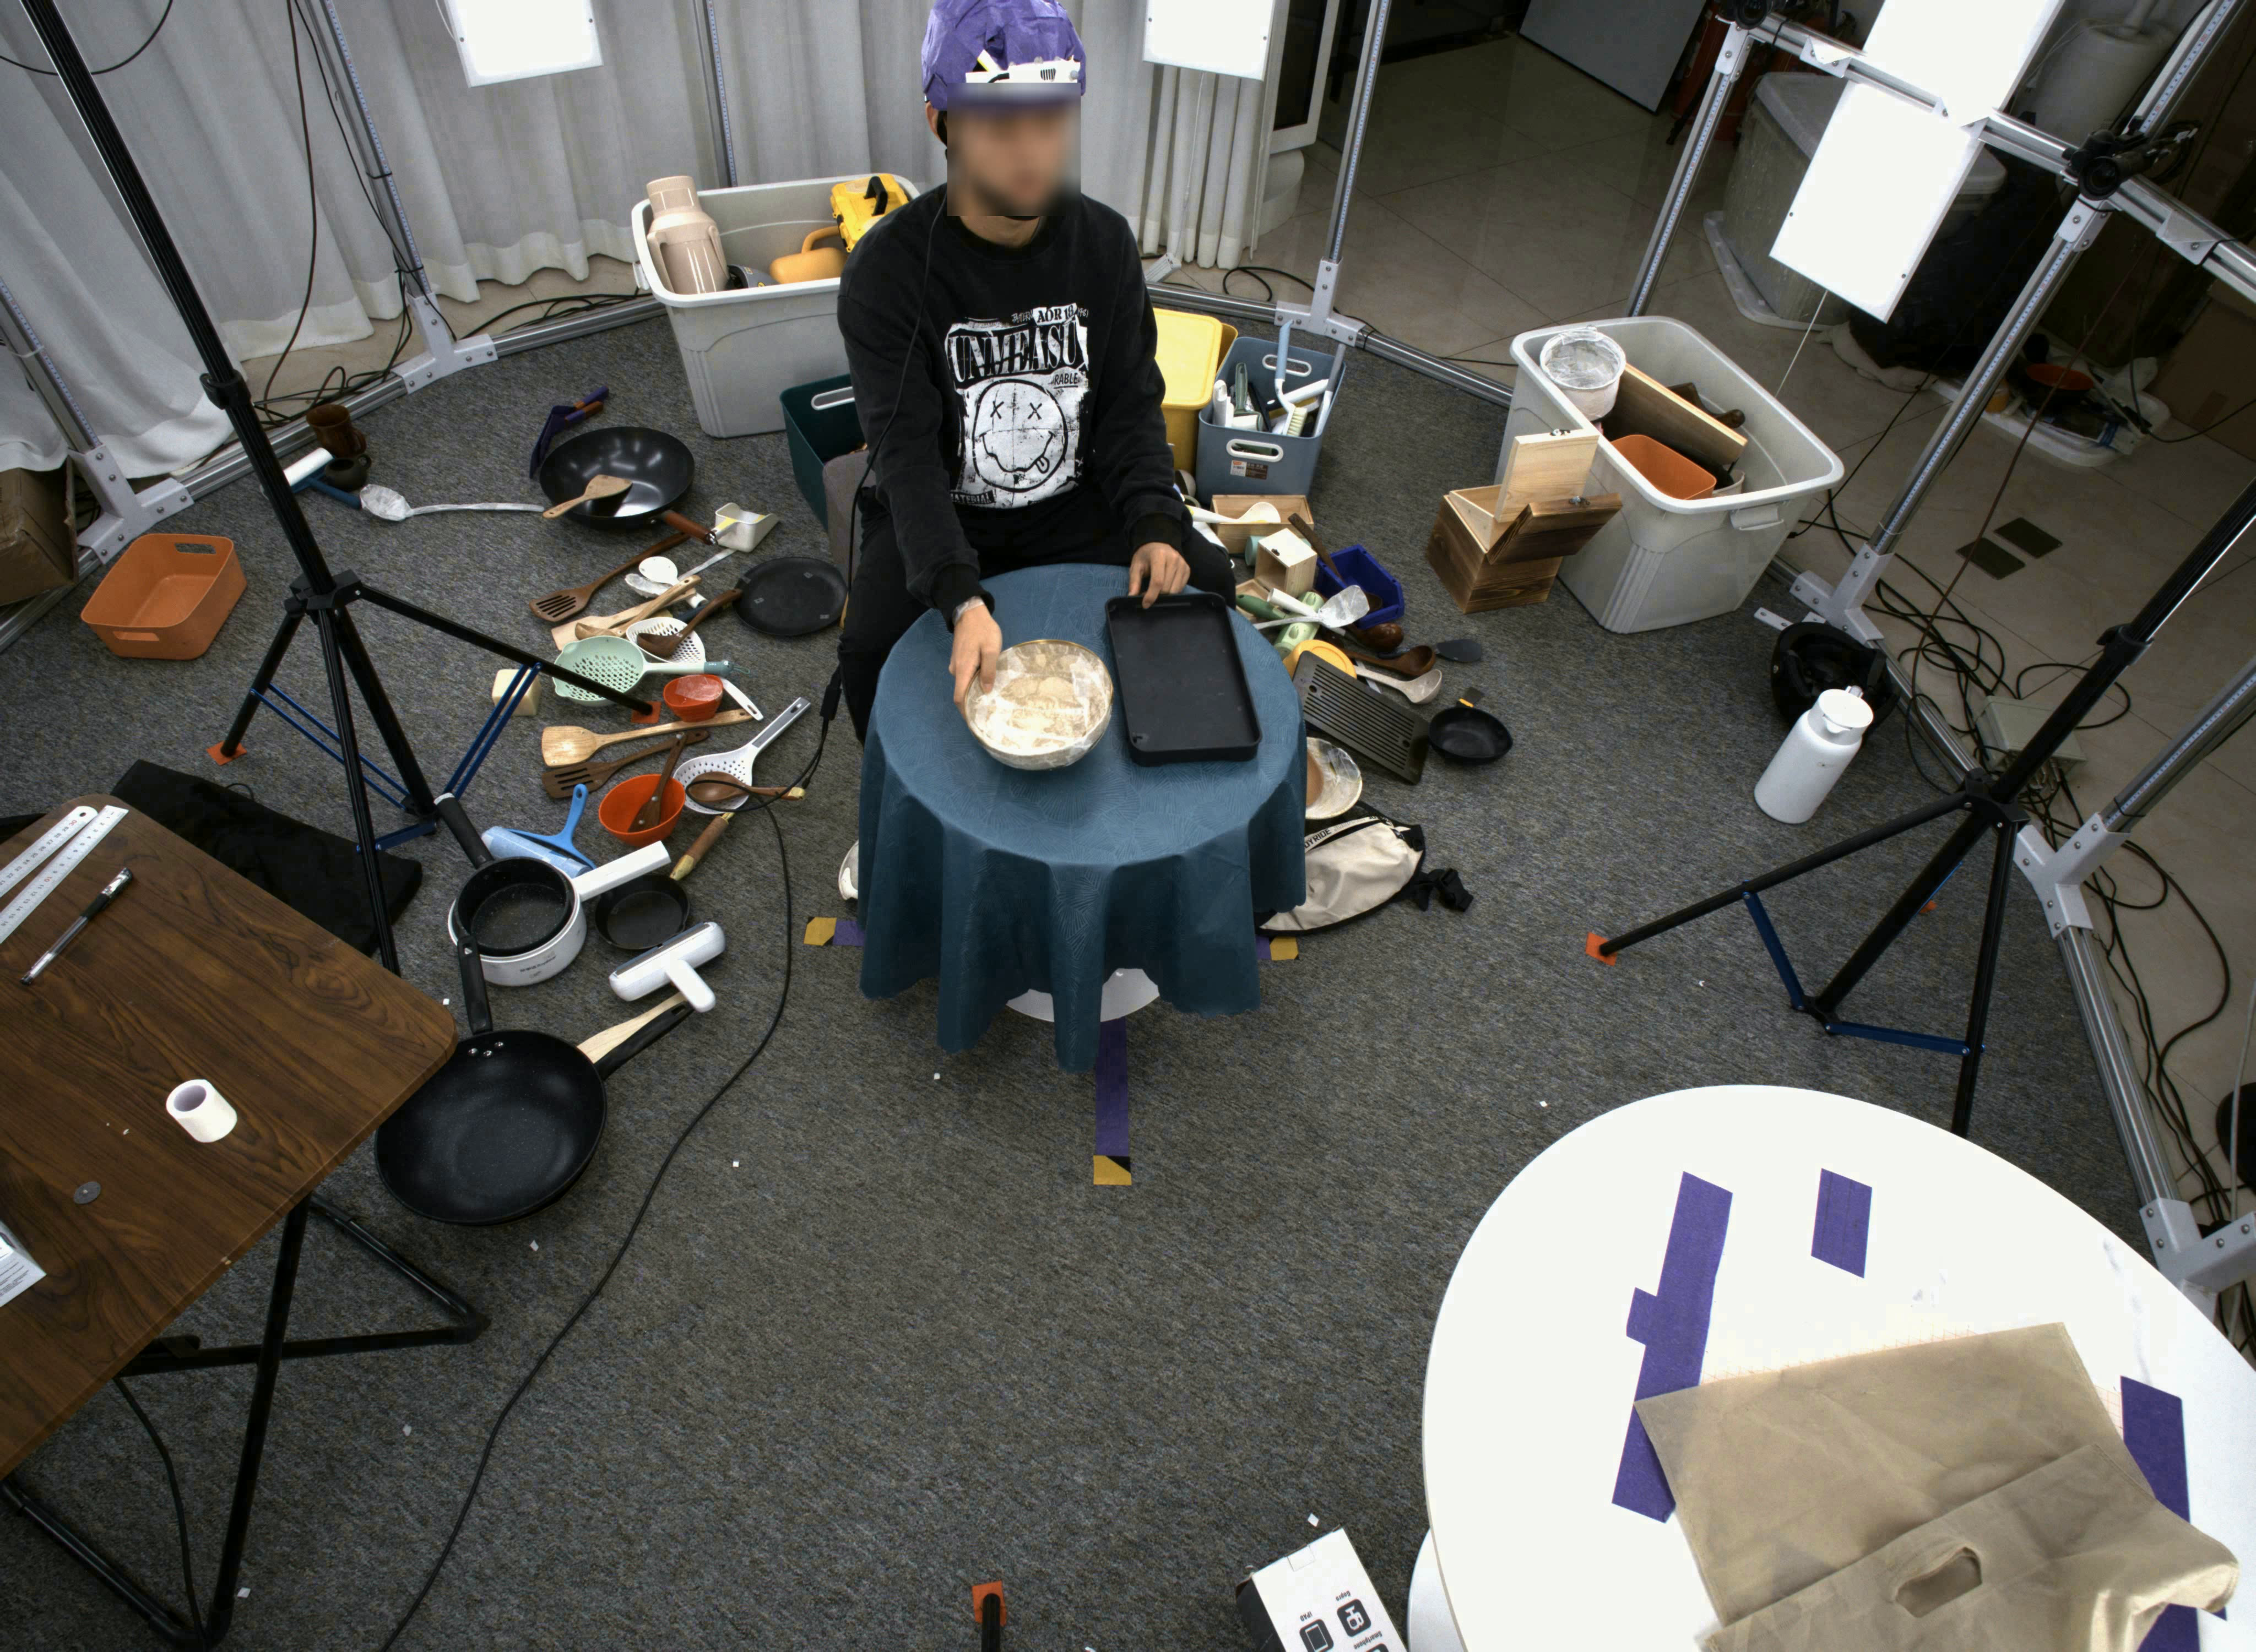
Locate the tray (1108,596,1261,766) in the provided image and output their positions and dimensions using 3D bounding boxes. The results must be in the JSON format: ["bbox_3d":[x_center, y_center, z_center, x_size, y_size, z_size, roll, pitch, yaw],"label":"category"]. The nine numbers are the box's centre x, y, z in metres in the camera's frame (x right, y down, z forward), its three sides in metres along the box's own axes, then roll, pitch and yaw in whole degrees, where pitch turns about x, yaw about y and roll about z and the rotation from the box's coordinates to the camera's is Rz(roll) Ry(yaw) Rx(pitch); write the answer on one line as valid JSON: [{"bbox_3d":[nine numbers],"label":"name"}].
[{"bbox_3d":[0.076,-0.215,1.851,0.184,0.036,0.326,-4,48,-5],"label":"tray"}]

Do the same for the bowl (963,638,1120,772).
[{"bbox_3d":[-0.111,-0.150,1.737,0.215,0.092,0.220,-5,52,7],"label":"bowl"}]
